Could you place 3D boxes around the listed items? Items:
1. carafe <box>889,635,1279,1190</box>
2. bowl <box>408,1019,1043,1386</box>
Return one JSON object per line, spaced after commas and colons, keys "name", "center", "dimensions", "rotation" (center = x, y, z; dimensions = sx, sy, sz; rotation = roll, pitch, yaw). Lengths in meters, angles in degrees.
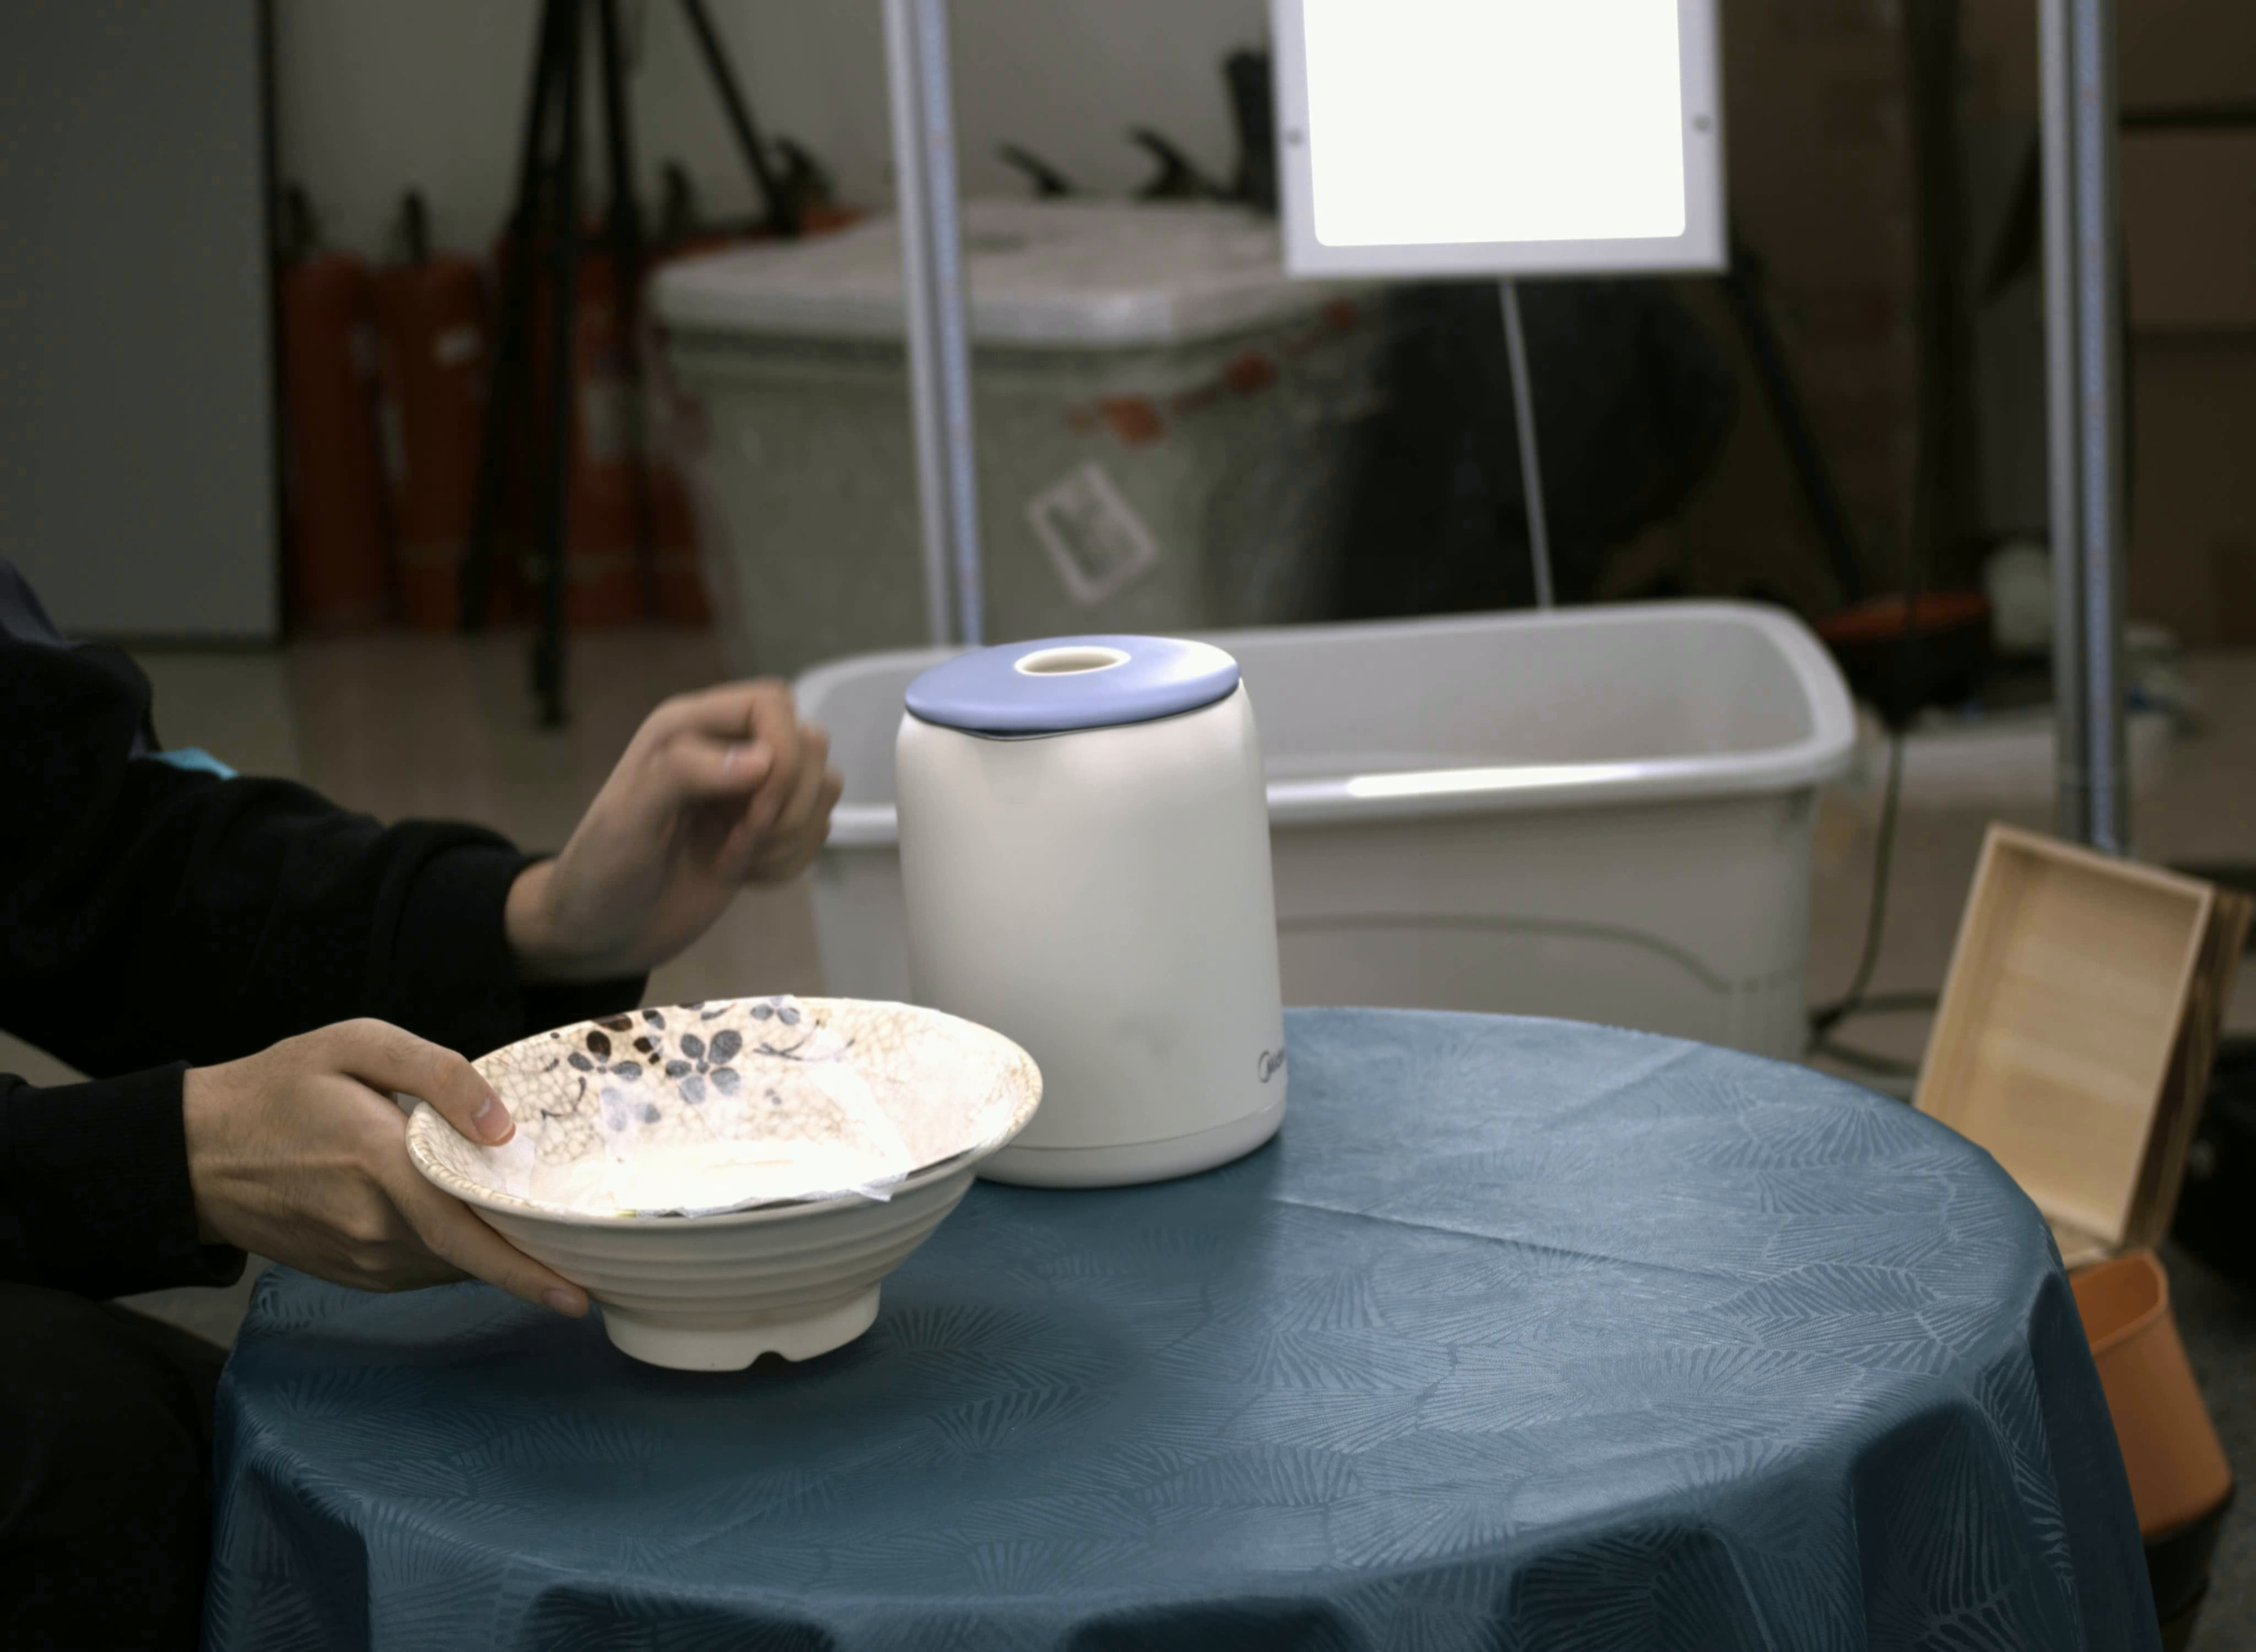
{"name": "carafe", "center": [-0.008, 0.024, 1.958], "dimensions": [0.134, 0.183, 0.188], "rotation": [1, 13, 19]}
{"name": "bowl", "center": [-0.123, 0.127, 1.758], "dimensions": [0.203, 0.078, 0.204], "rotation": [-7, 14, 0]}
